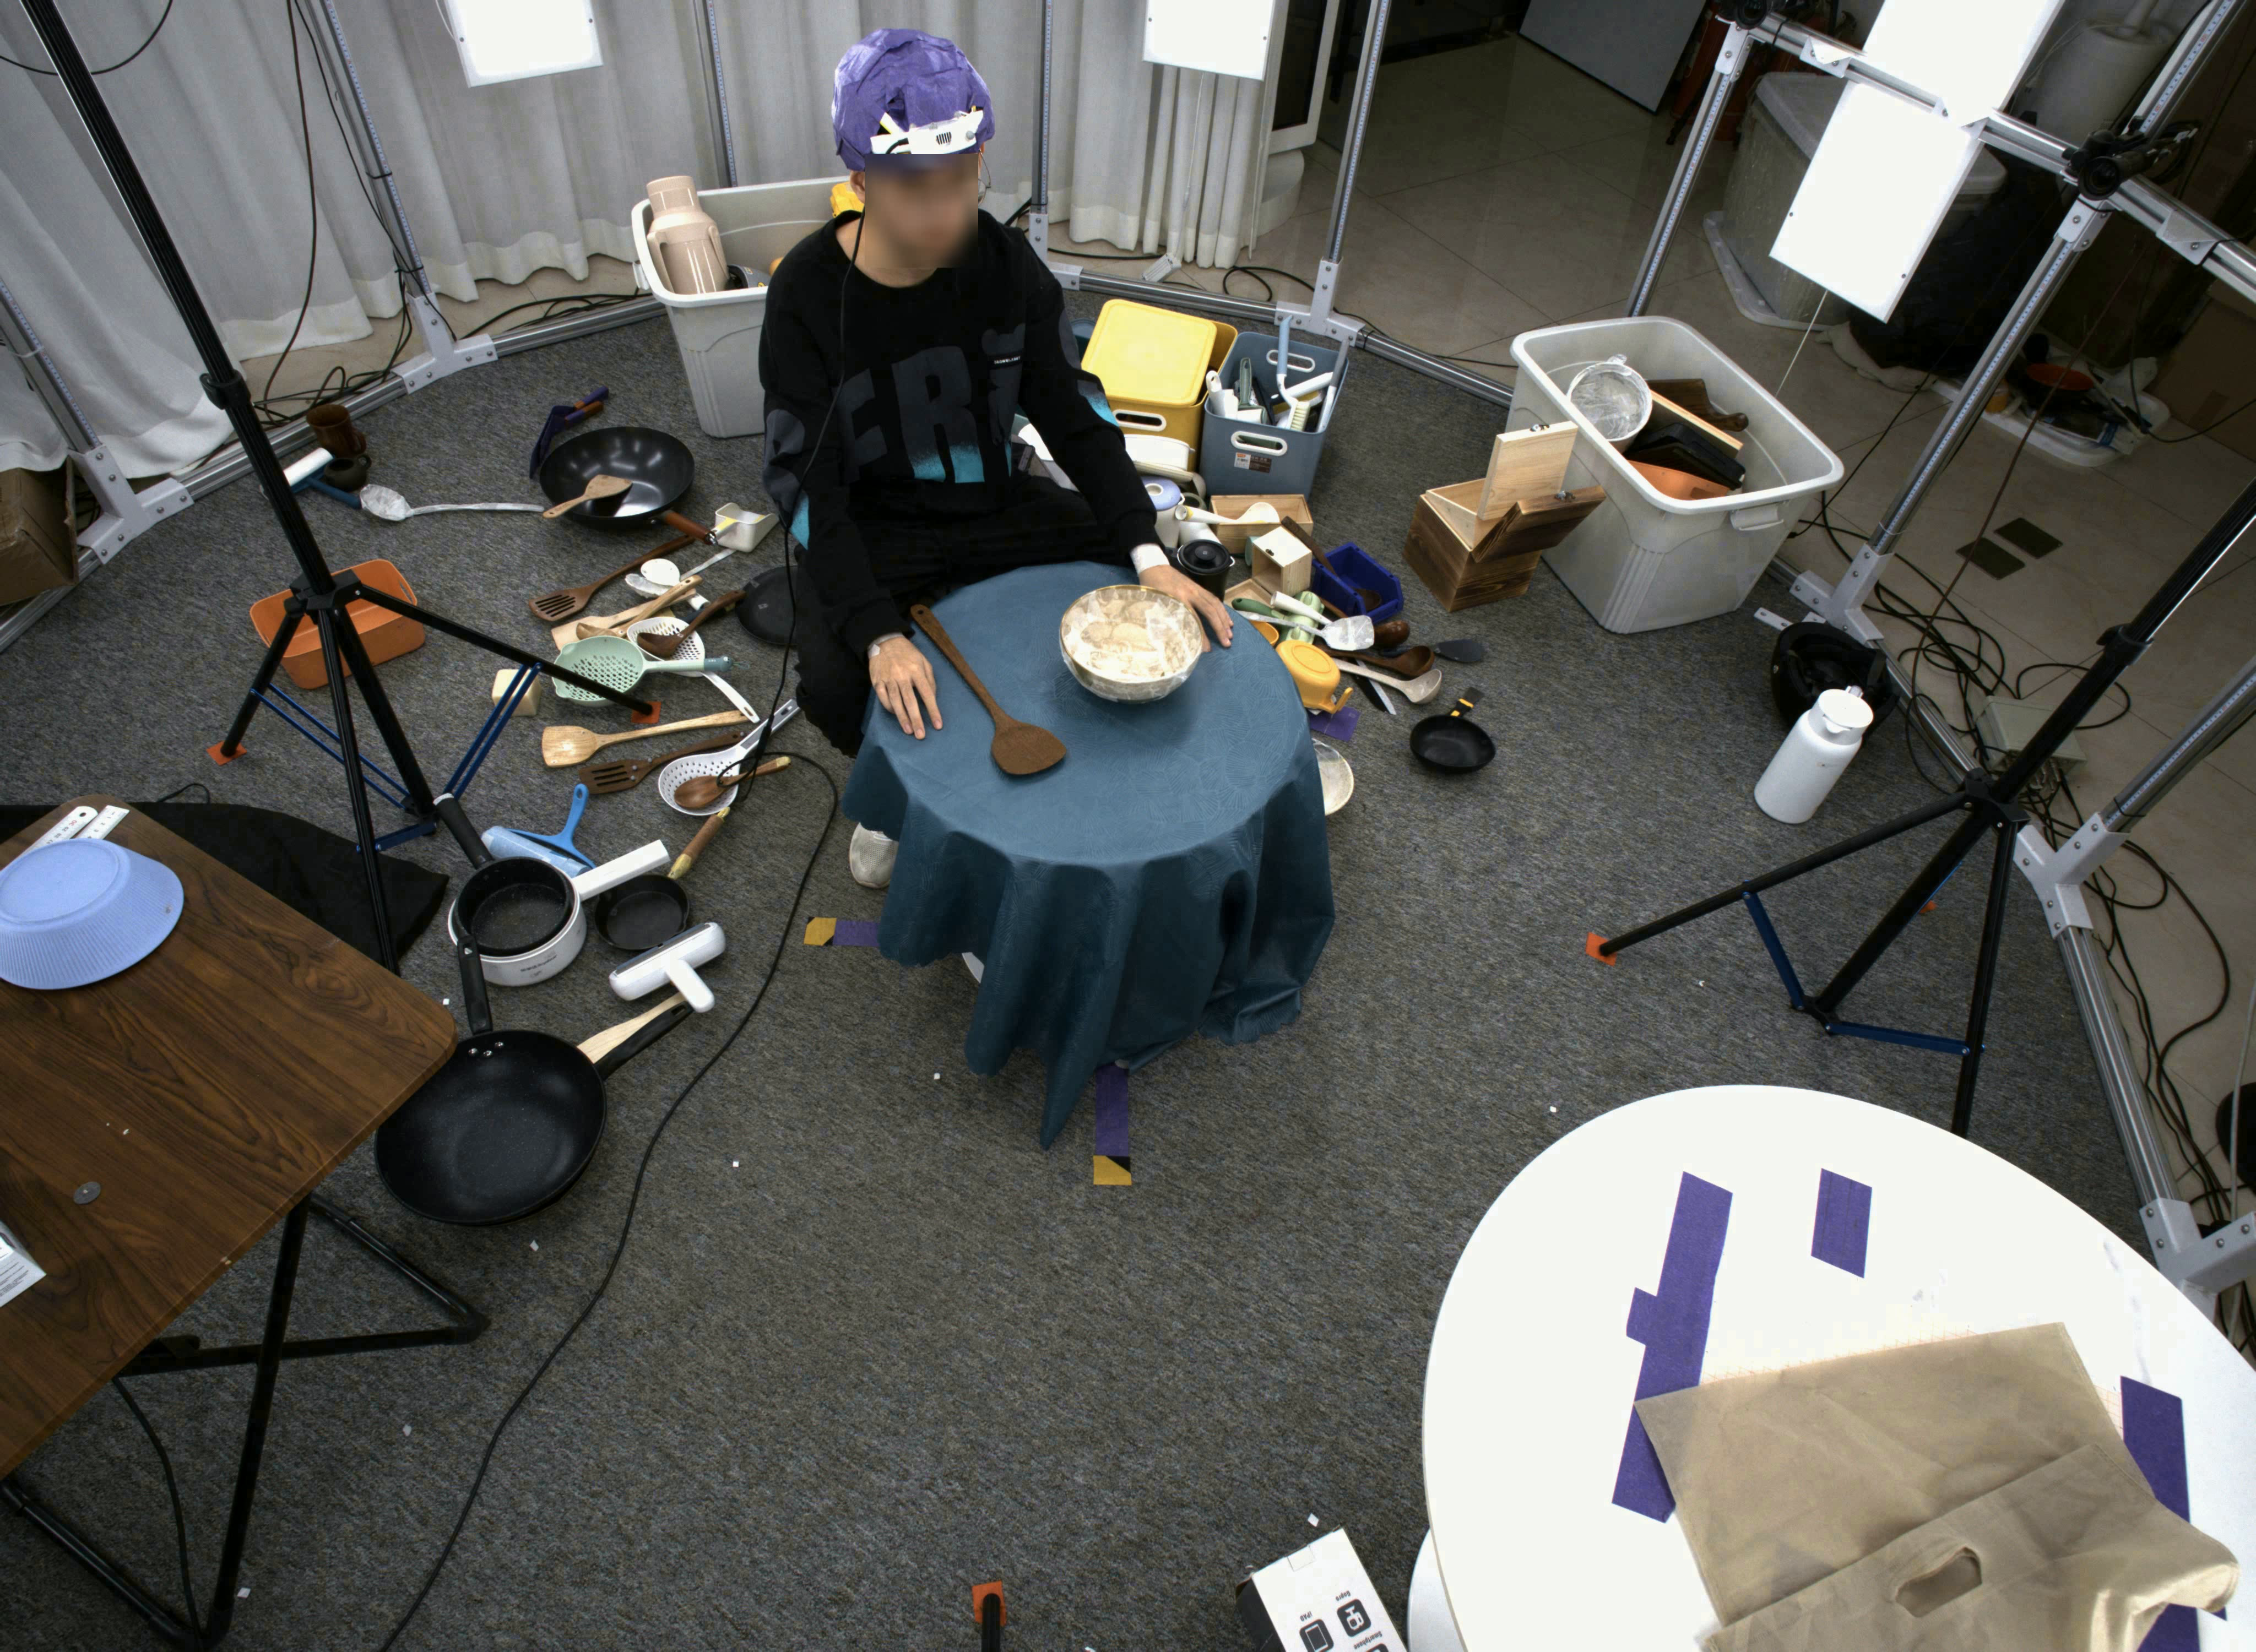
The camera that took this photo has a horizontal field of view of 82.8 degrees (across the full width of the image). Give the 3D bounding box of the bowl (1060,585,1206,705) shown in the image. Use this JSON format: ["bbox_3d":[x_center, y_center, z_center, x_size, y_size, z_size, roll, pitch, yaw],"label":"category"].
[{"bbox_3d":[0.006,-0.245,1.837,0.214,0.092,0.220,1,49,-1],"label":"bowl"}]

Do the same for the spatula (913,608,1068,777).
[{"bbox_3d":[-0.215,-0.201,1.837,0.096,0.015,0.394,-23,54,-22],"label":"spatula"}]
